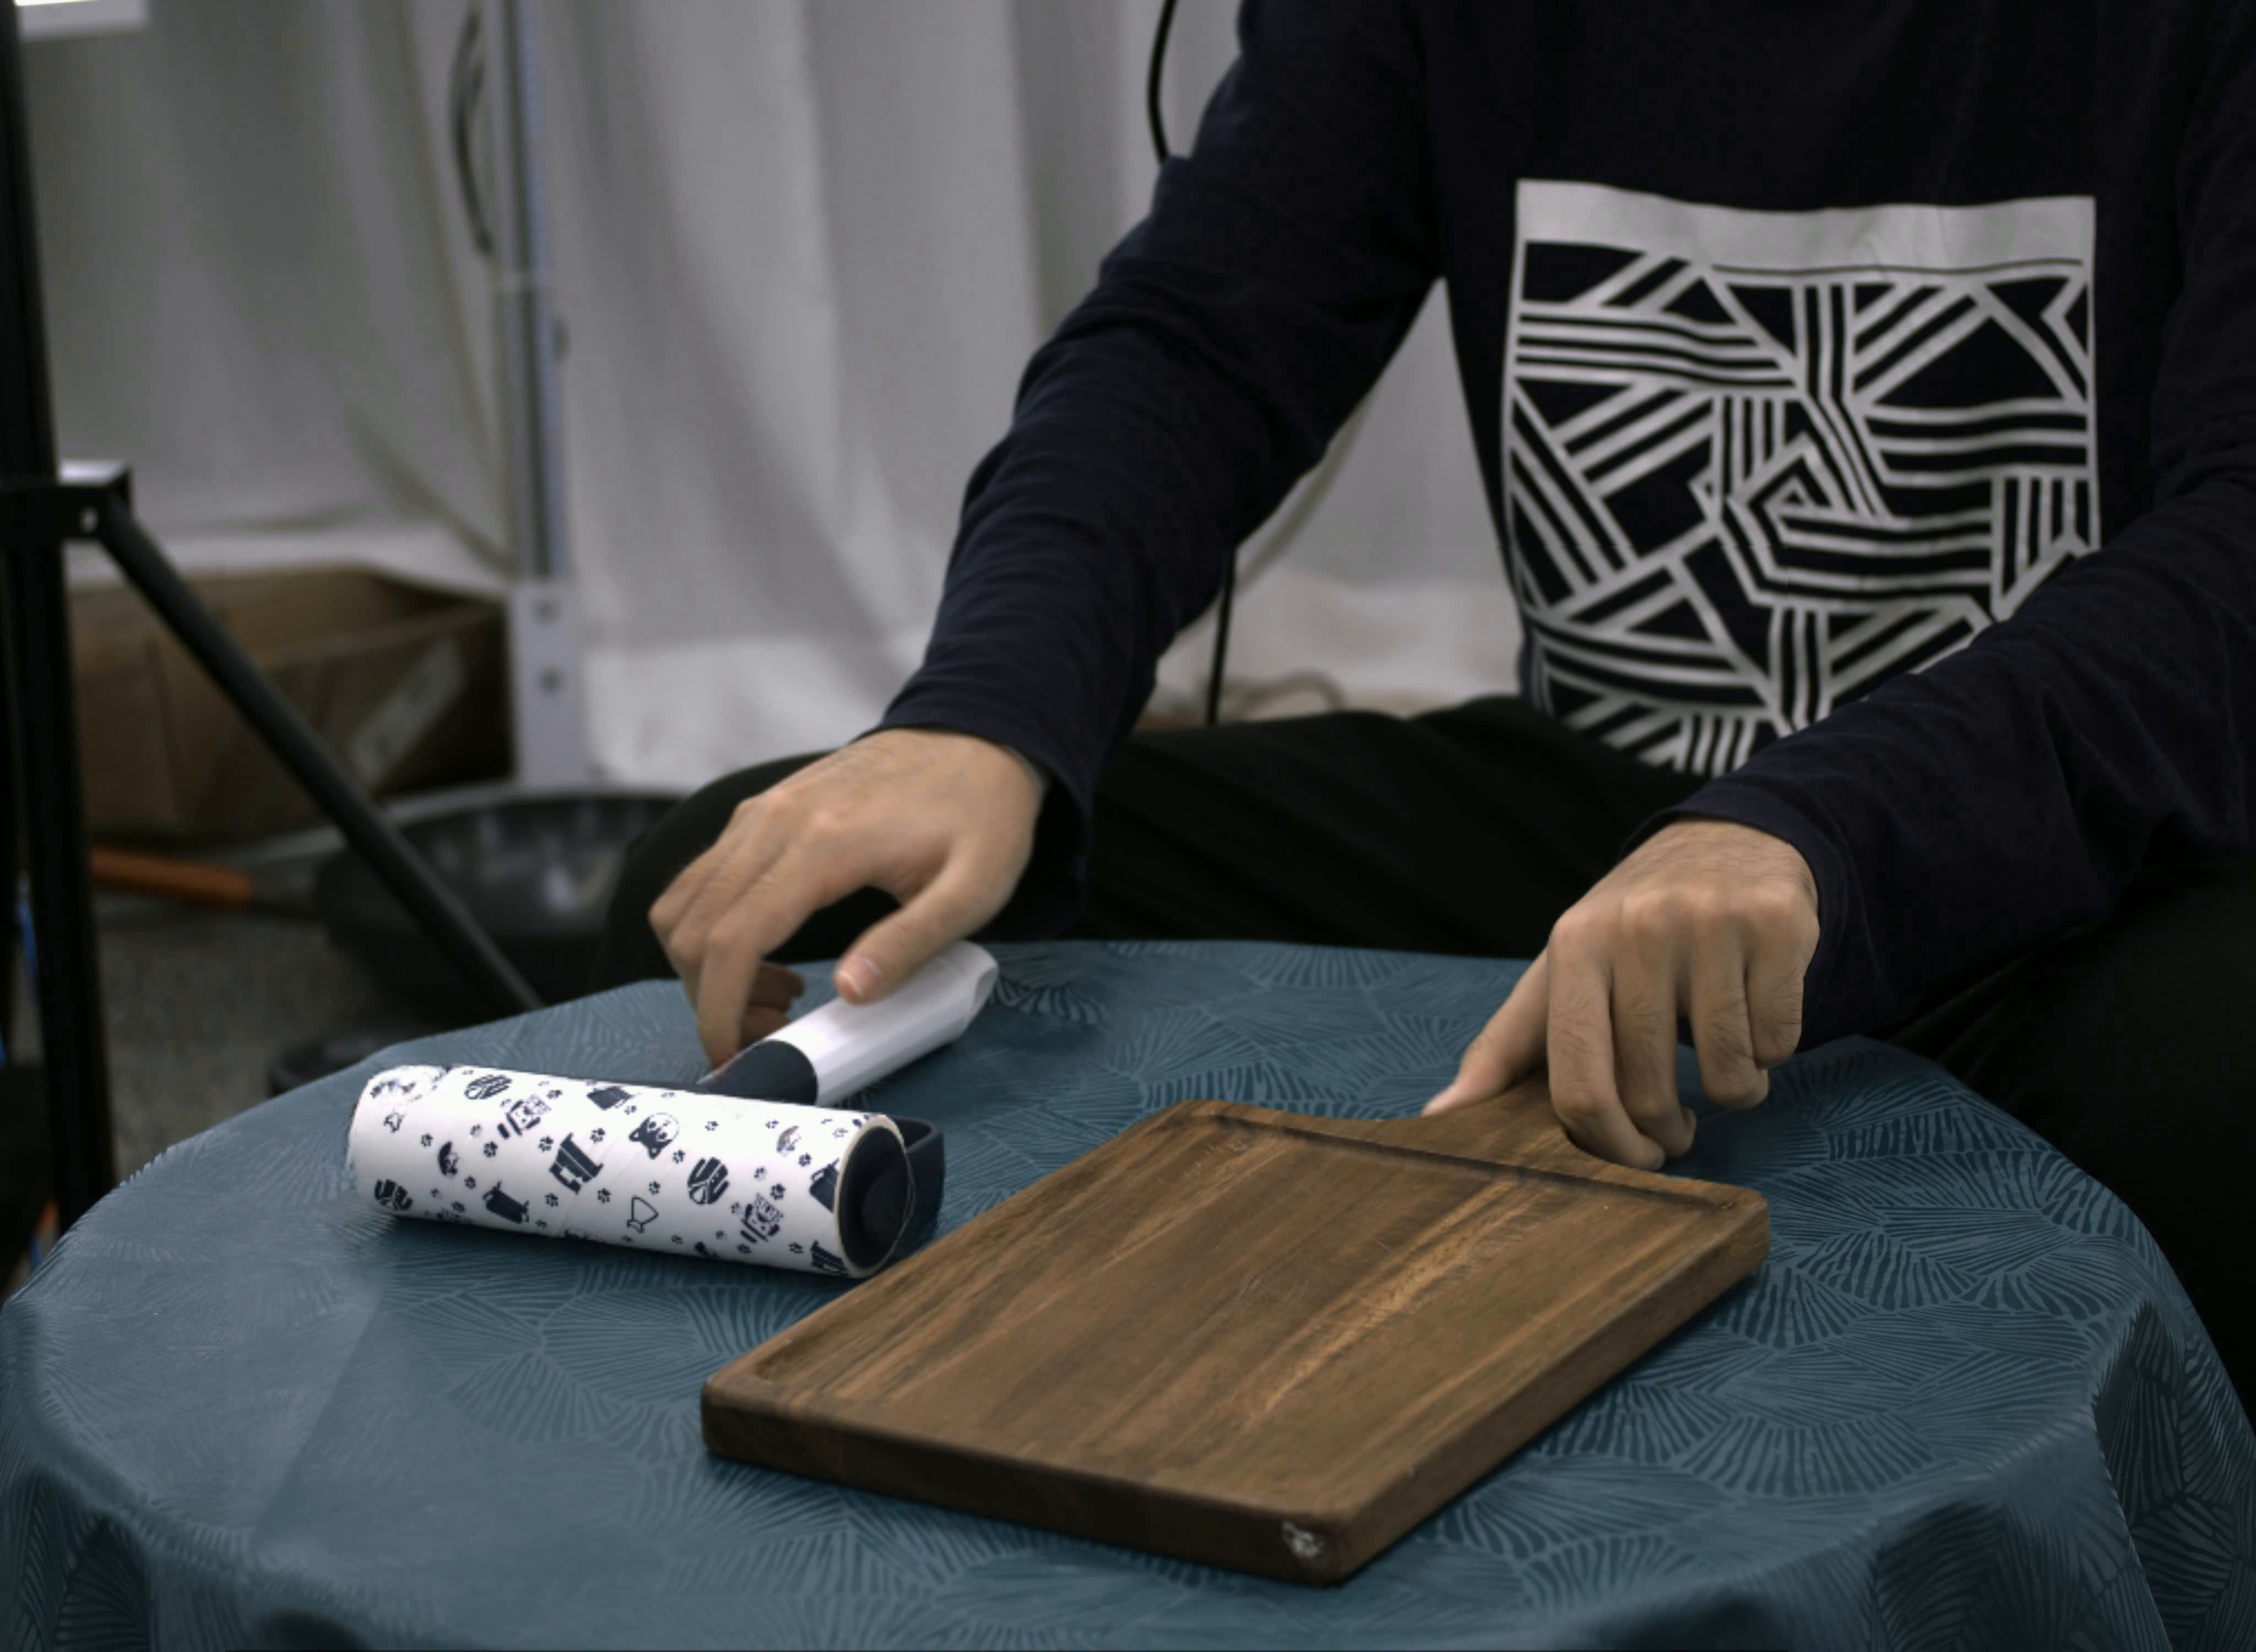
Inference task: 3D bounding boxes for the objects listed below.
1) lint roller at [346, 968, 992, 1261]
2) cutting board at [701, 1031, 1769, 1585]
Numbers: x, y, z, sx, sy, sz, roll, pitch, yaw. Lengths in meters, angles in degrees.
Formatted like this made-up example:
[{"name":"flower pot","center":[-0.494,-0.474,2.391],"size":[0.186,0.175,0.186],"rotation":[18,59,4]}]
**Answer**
[{"name":"lint roller","center":[-0.104,0.074,1.625],"size":[0.179,0.050,0.243],"rotation":[4,14,24]},{"name":"cutting board","center":[0.059,0.119,1.461],"size":[0.205,0.023,0.345],"rotation":[7,19,32]}]
